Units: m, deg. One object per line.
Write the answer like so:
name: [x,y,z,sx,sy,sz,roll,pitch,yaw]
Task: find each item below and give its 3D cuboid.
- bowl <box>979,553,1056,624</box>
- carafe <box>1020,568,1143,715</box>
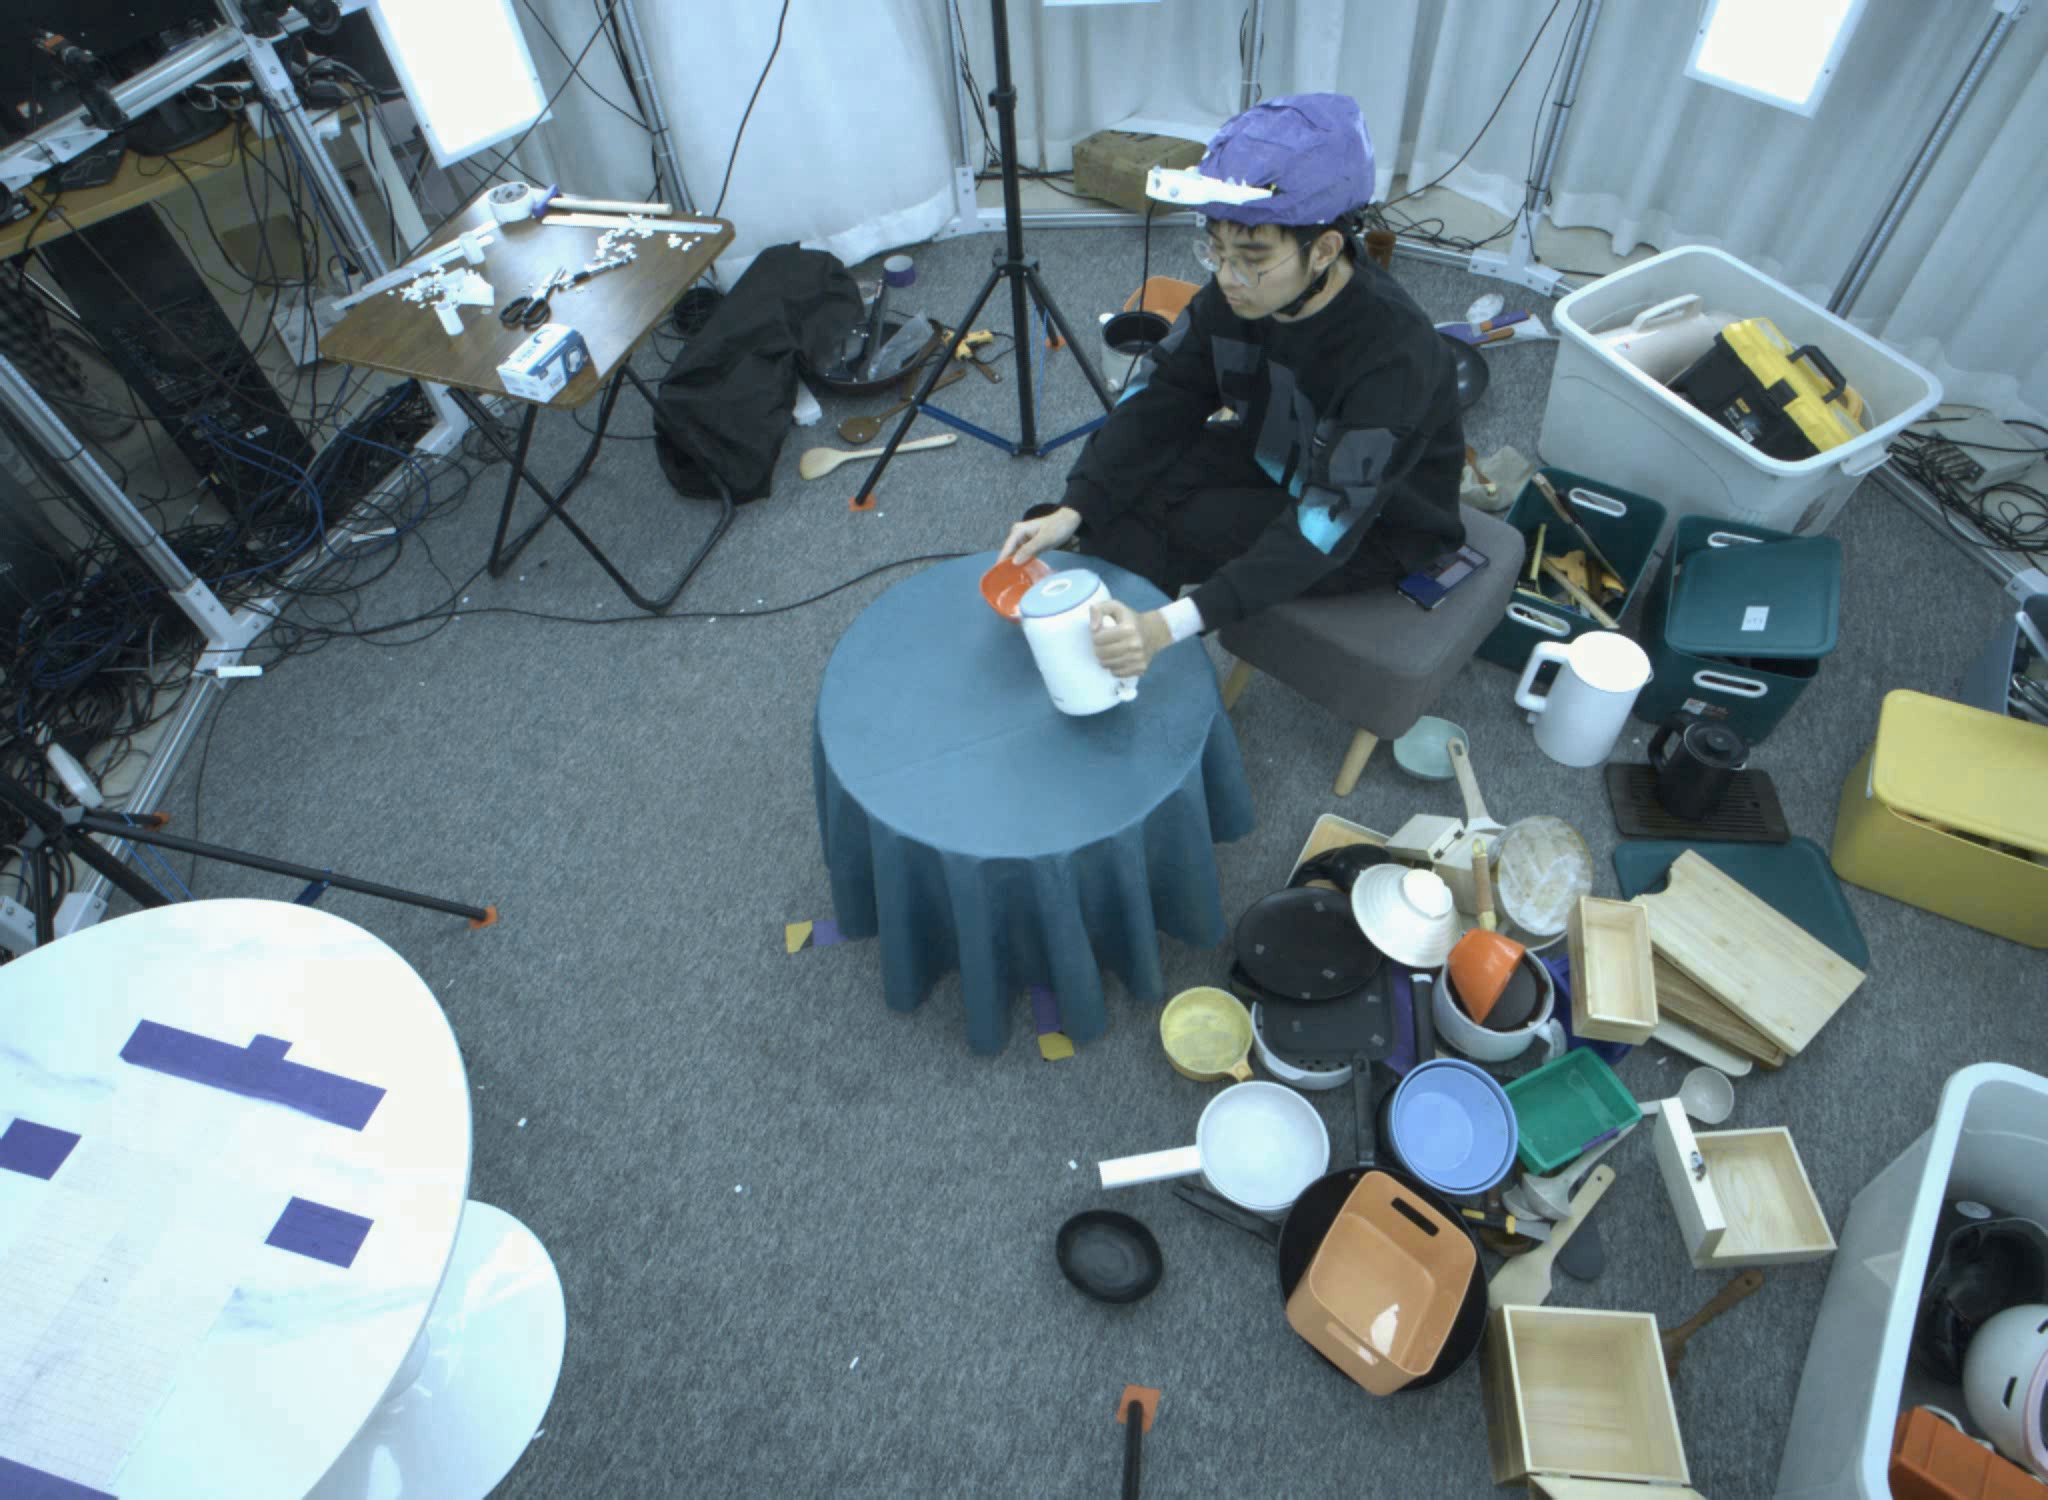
bowl: [-0.007,-0.235,1.841,0.118,0.052,0.118,-2,59,4]
carafe: [0.092,-0.146,1.716,0.133,0.185,0.186,-39,38,-21]
